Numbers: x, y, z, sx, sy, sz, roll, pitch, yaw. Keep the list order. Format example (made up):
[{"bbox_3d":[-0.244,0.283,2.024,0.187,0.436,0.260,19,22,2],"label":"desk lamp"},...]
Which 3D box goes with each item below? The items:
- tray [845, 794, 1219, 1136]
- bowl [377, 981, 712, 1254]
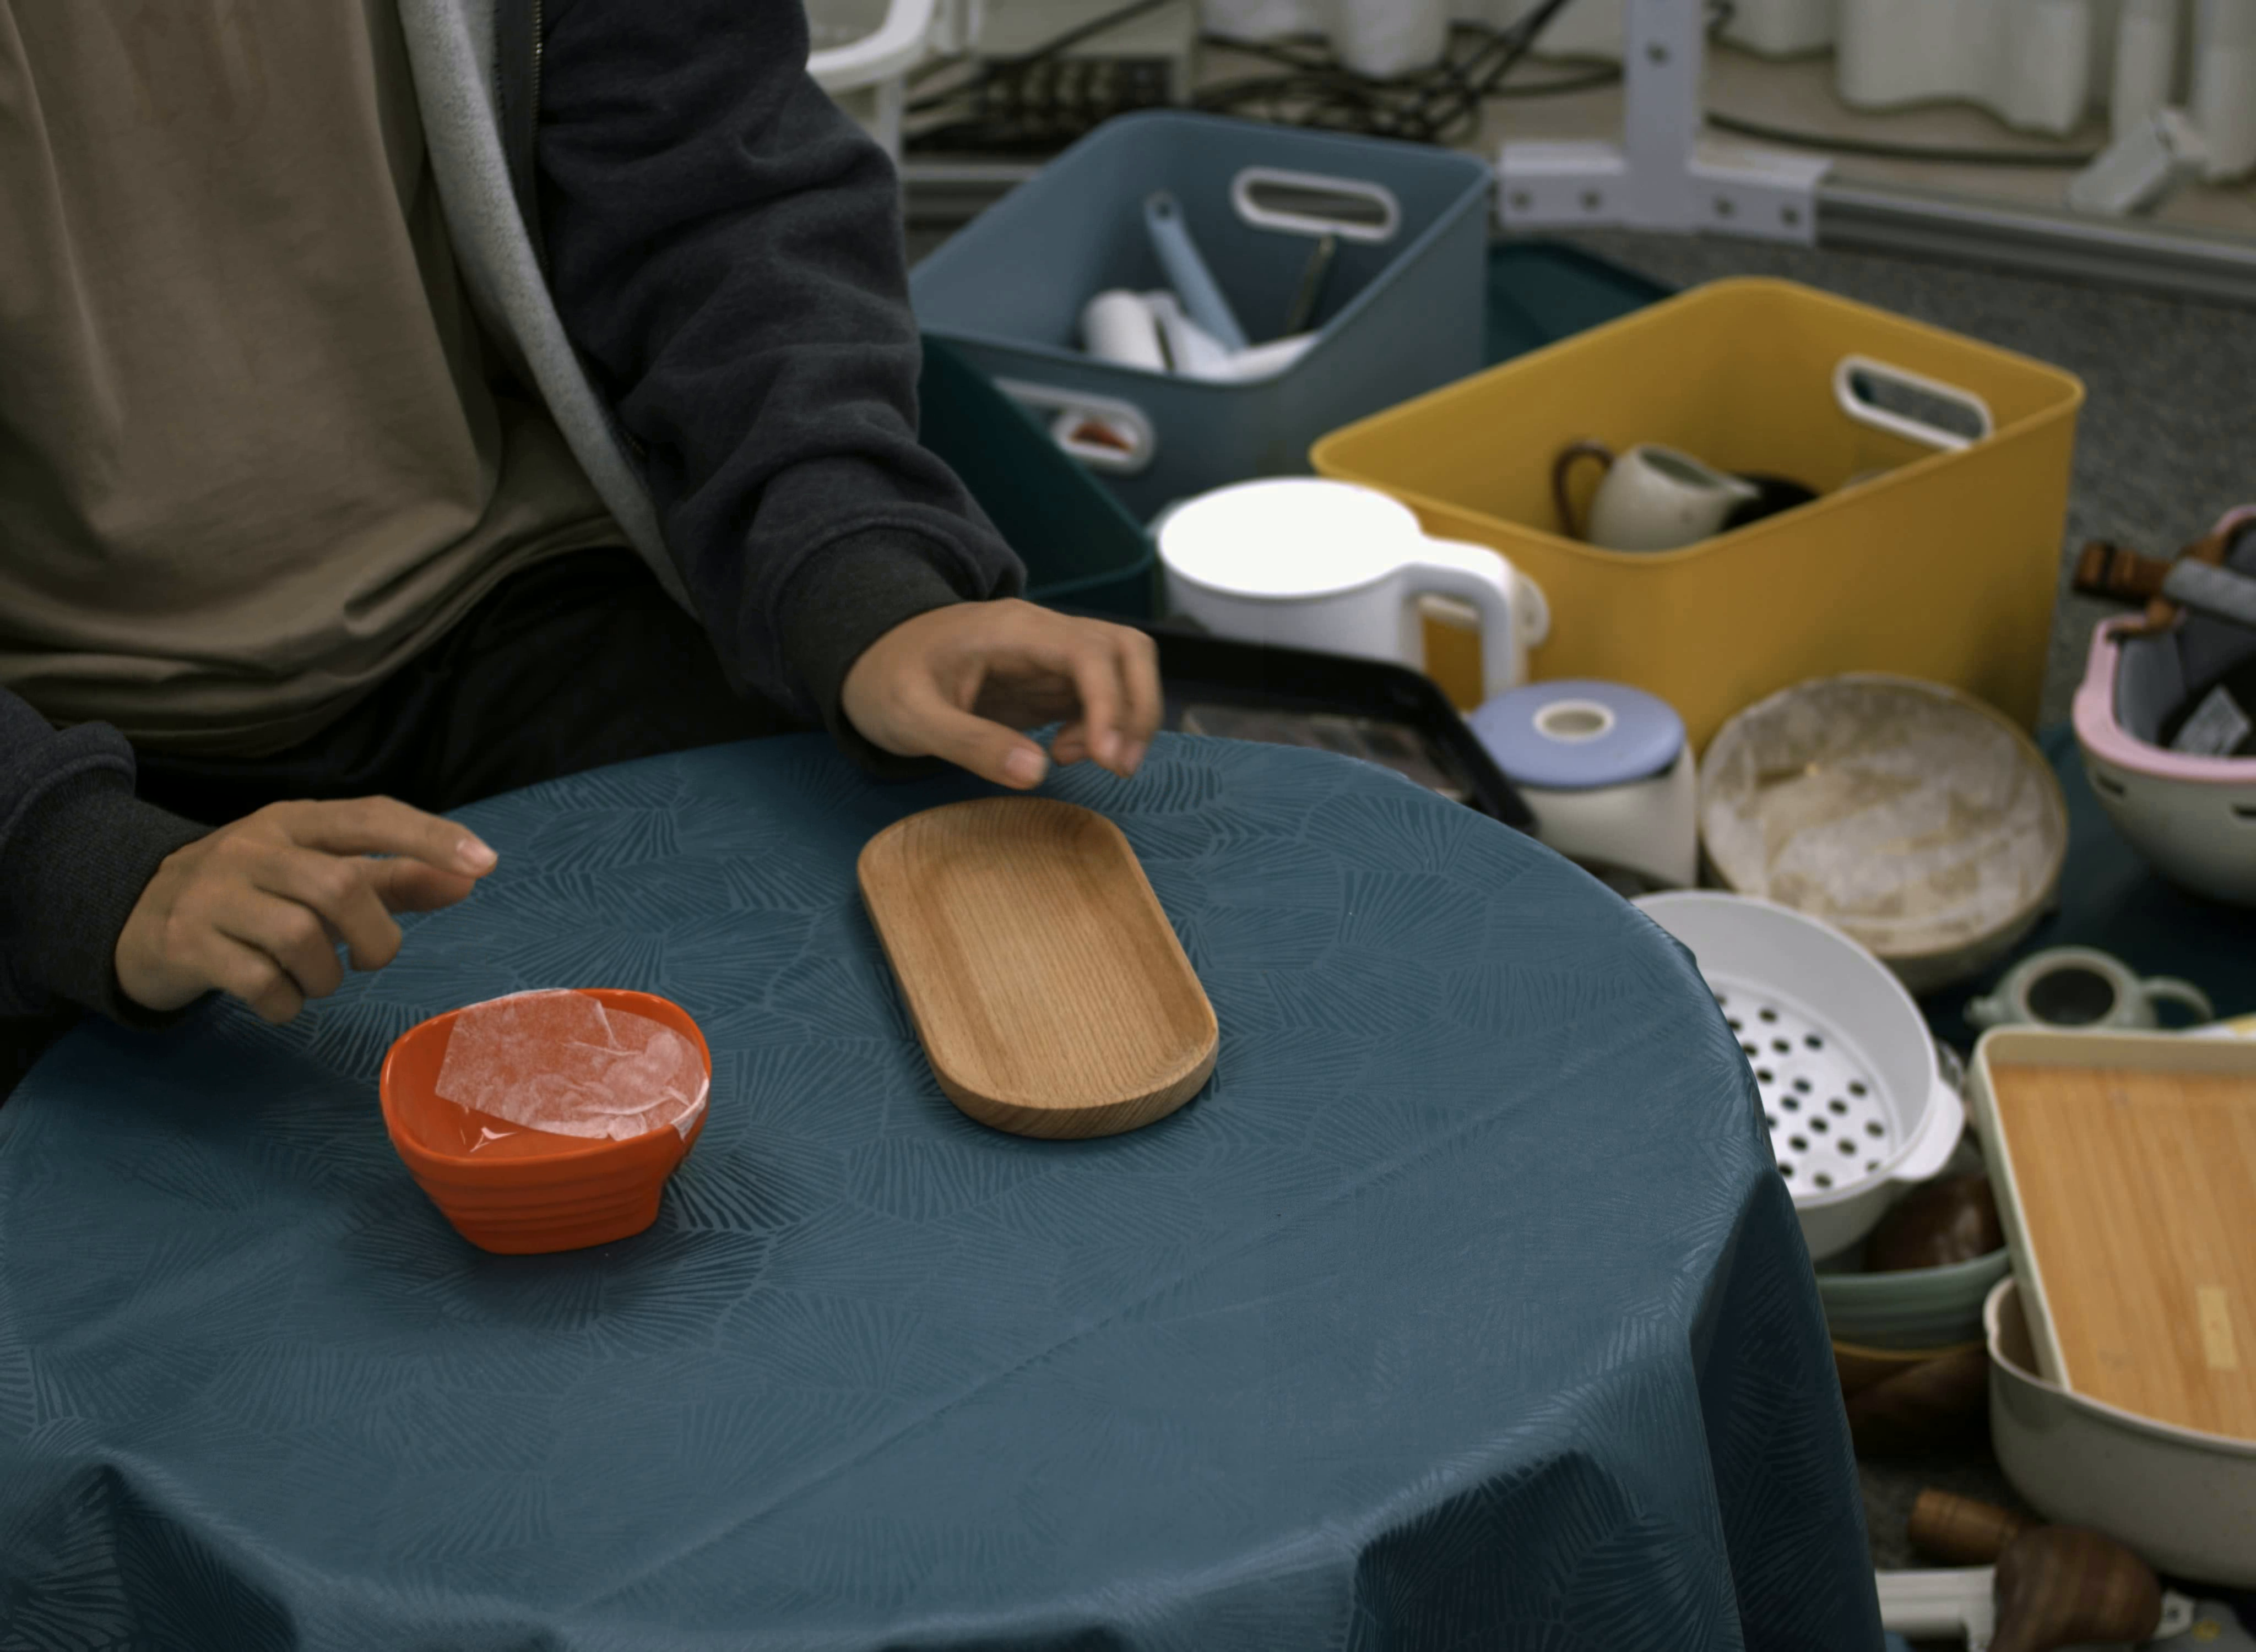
[{"bbox_3d":[-0.036,0.047,1.991,0.101,0.020,0.233,-8,27,-12],"label":"tray"},{"bbox_3d":[-0.191,0.102,1.862,0.118,0.051,0.121,-3,28,2],"label":"bowl"}]
